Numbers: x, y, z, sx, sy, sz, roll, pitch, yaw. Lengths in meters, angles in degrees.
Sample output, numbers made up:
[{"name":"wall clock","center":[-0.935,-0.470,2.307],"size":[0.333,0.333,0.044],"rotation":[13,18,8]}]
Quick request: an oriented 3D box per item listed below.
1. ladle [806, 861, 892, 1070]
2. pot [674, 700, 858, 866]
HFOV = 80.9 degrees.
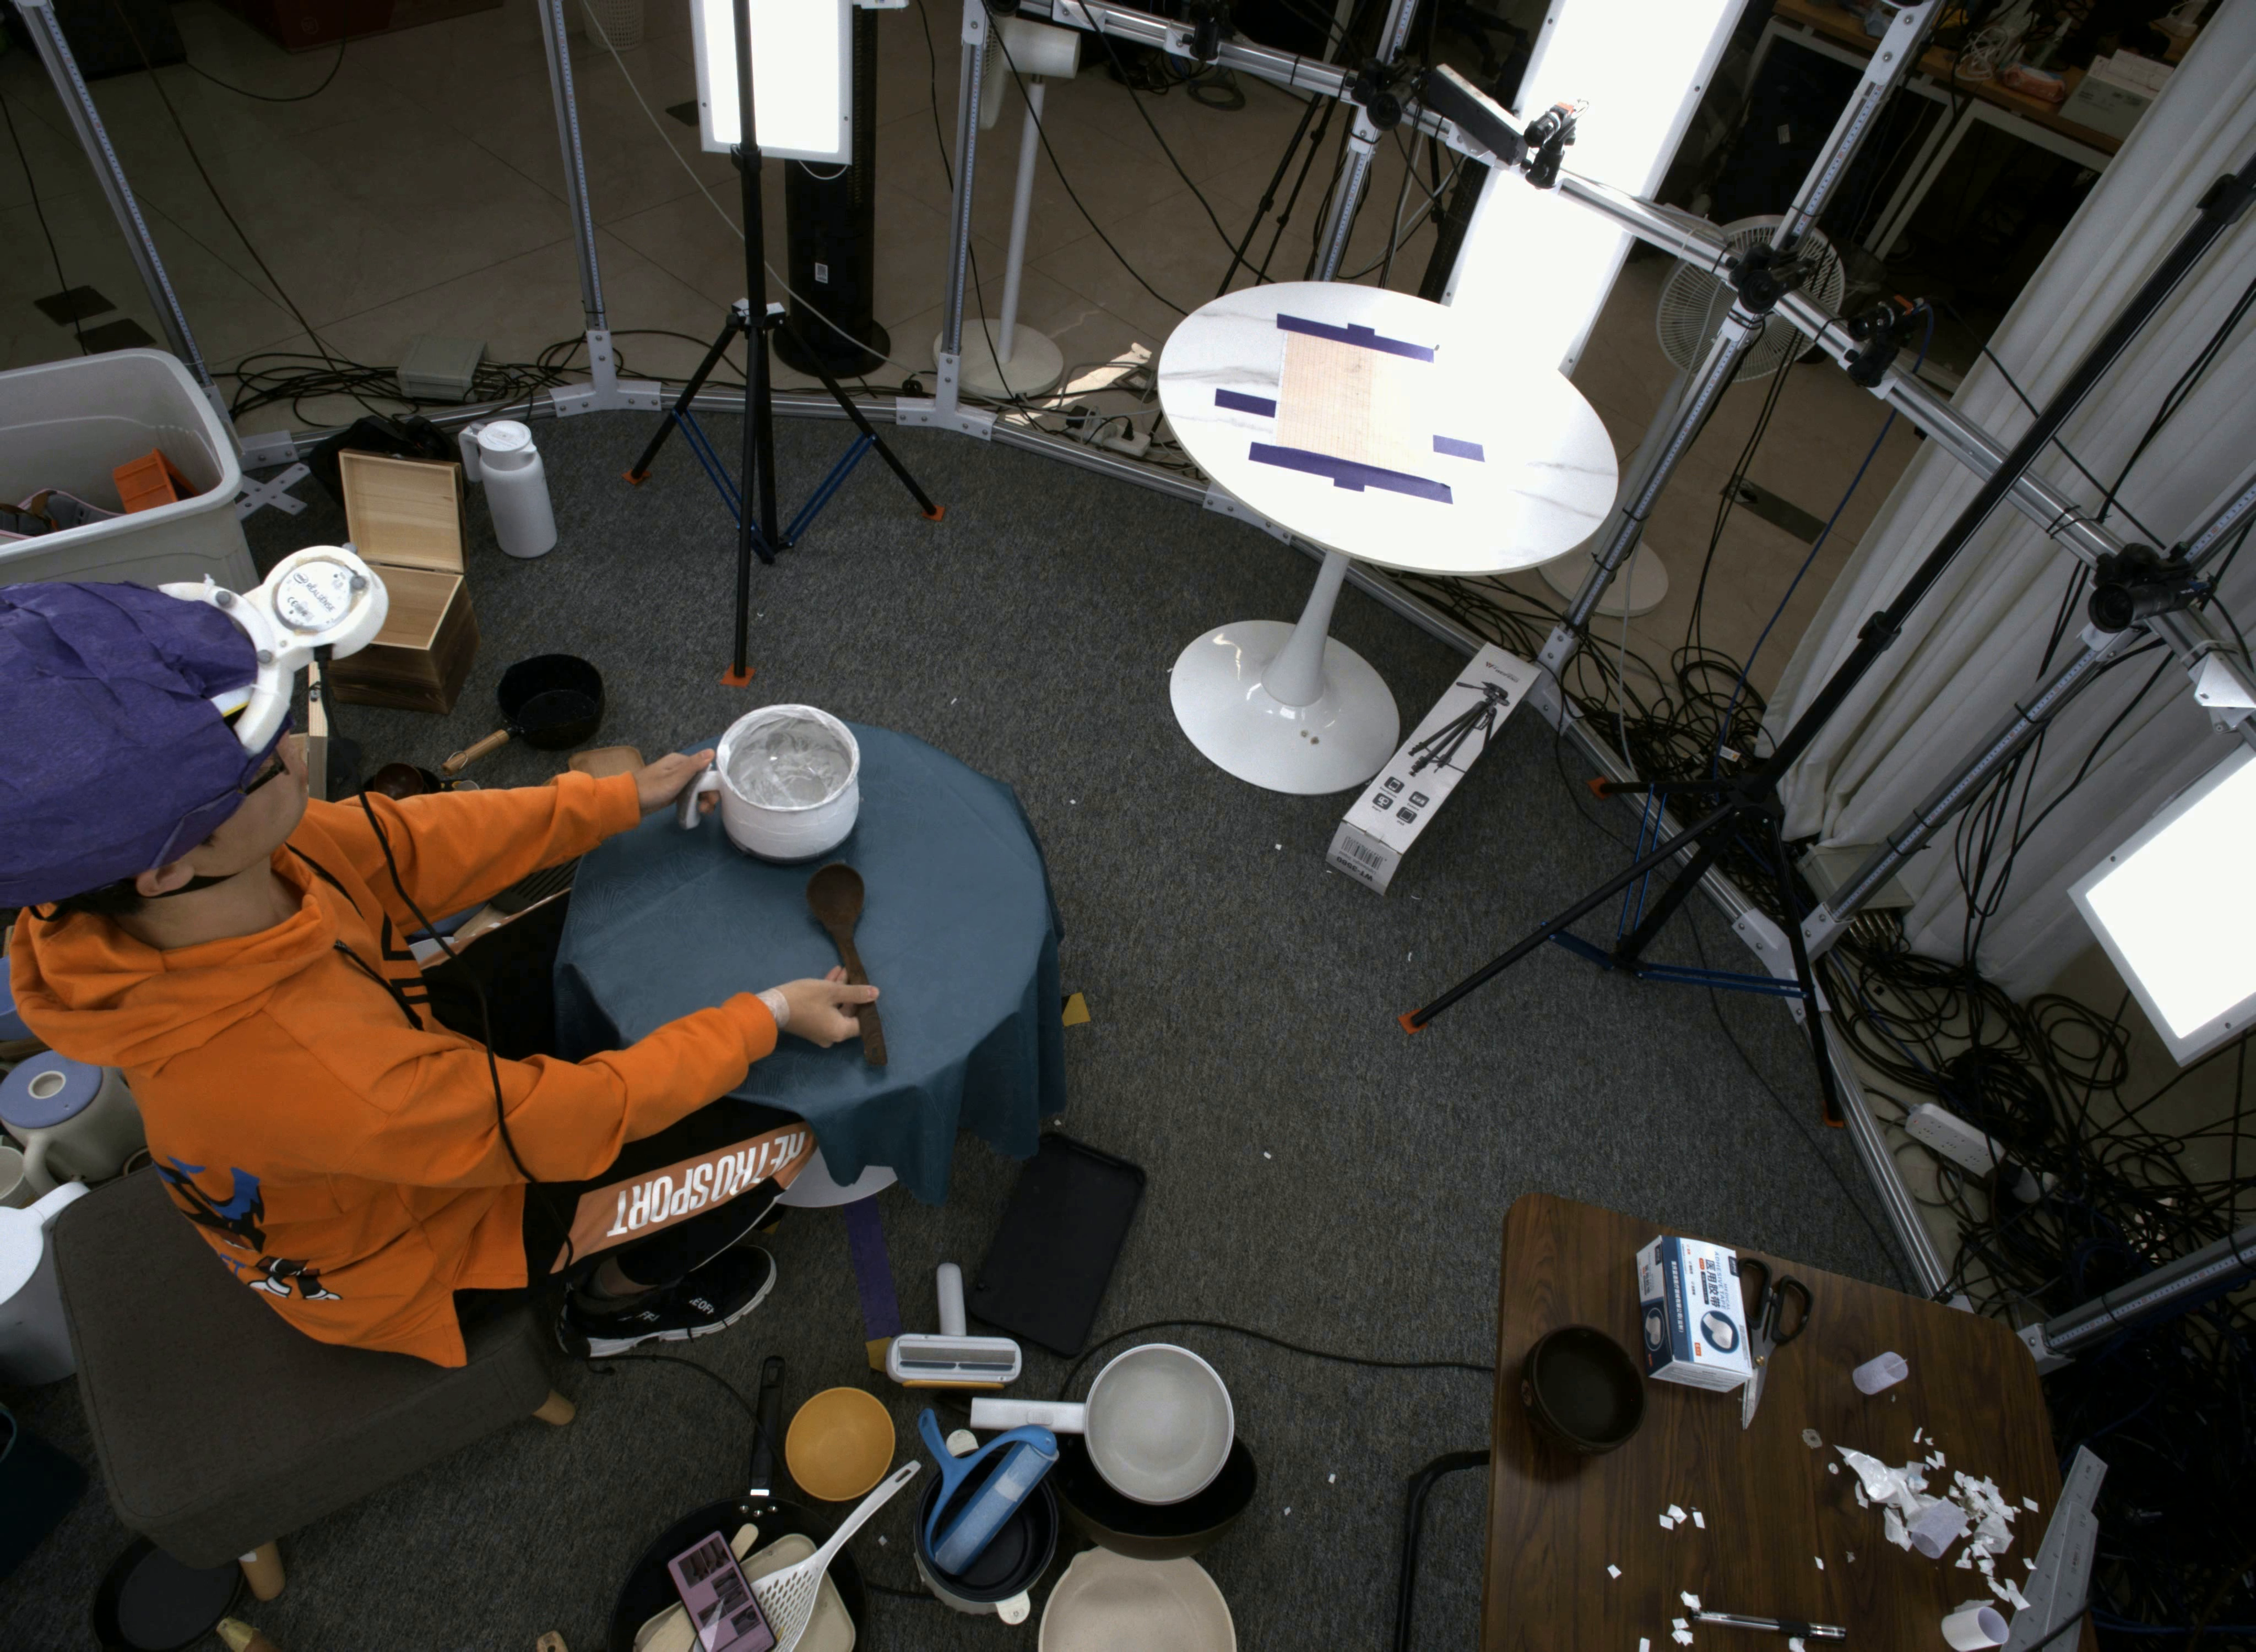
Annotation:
[{"name":"ladle","center":[-0.328,0.159,1.567],"size":[0.076,0.073,0.266],"rotation":[-8,51,-23]},{"name":"pot","center":[-0.463,-0.048,1.650],"size":[0.235,0.139,0.174],"rotation":[-8,55,-20]}]
